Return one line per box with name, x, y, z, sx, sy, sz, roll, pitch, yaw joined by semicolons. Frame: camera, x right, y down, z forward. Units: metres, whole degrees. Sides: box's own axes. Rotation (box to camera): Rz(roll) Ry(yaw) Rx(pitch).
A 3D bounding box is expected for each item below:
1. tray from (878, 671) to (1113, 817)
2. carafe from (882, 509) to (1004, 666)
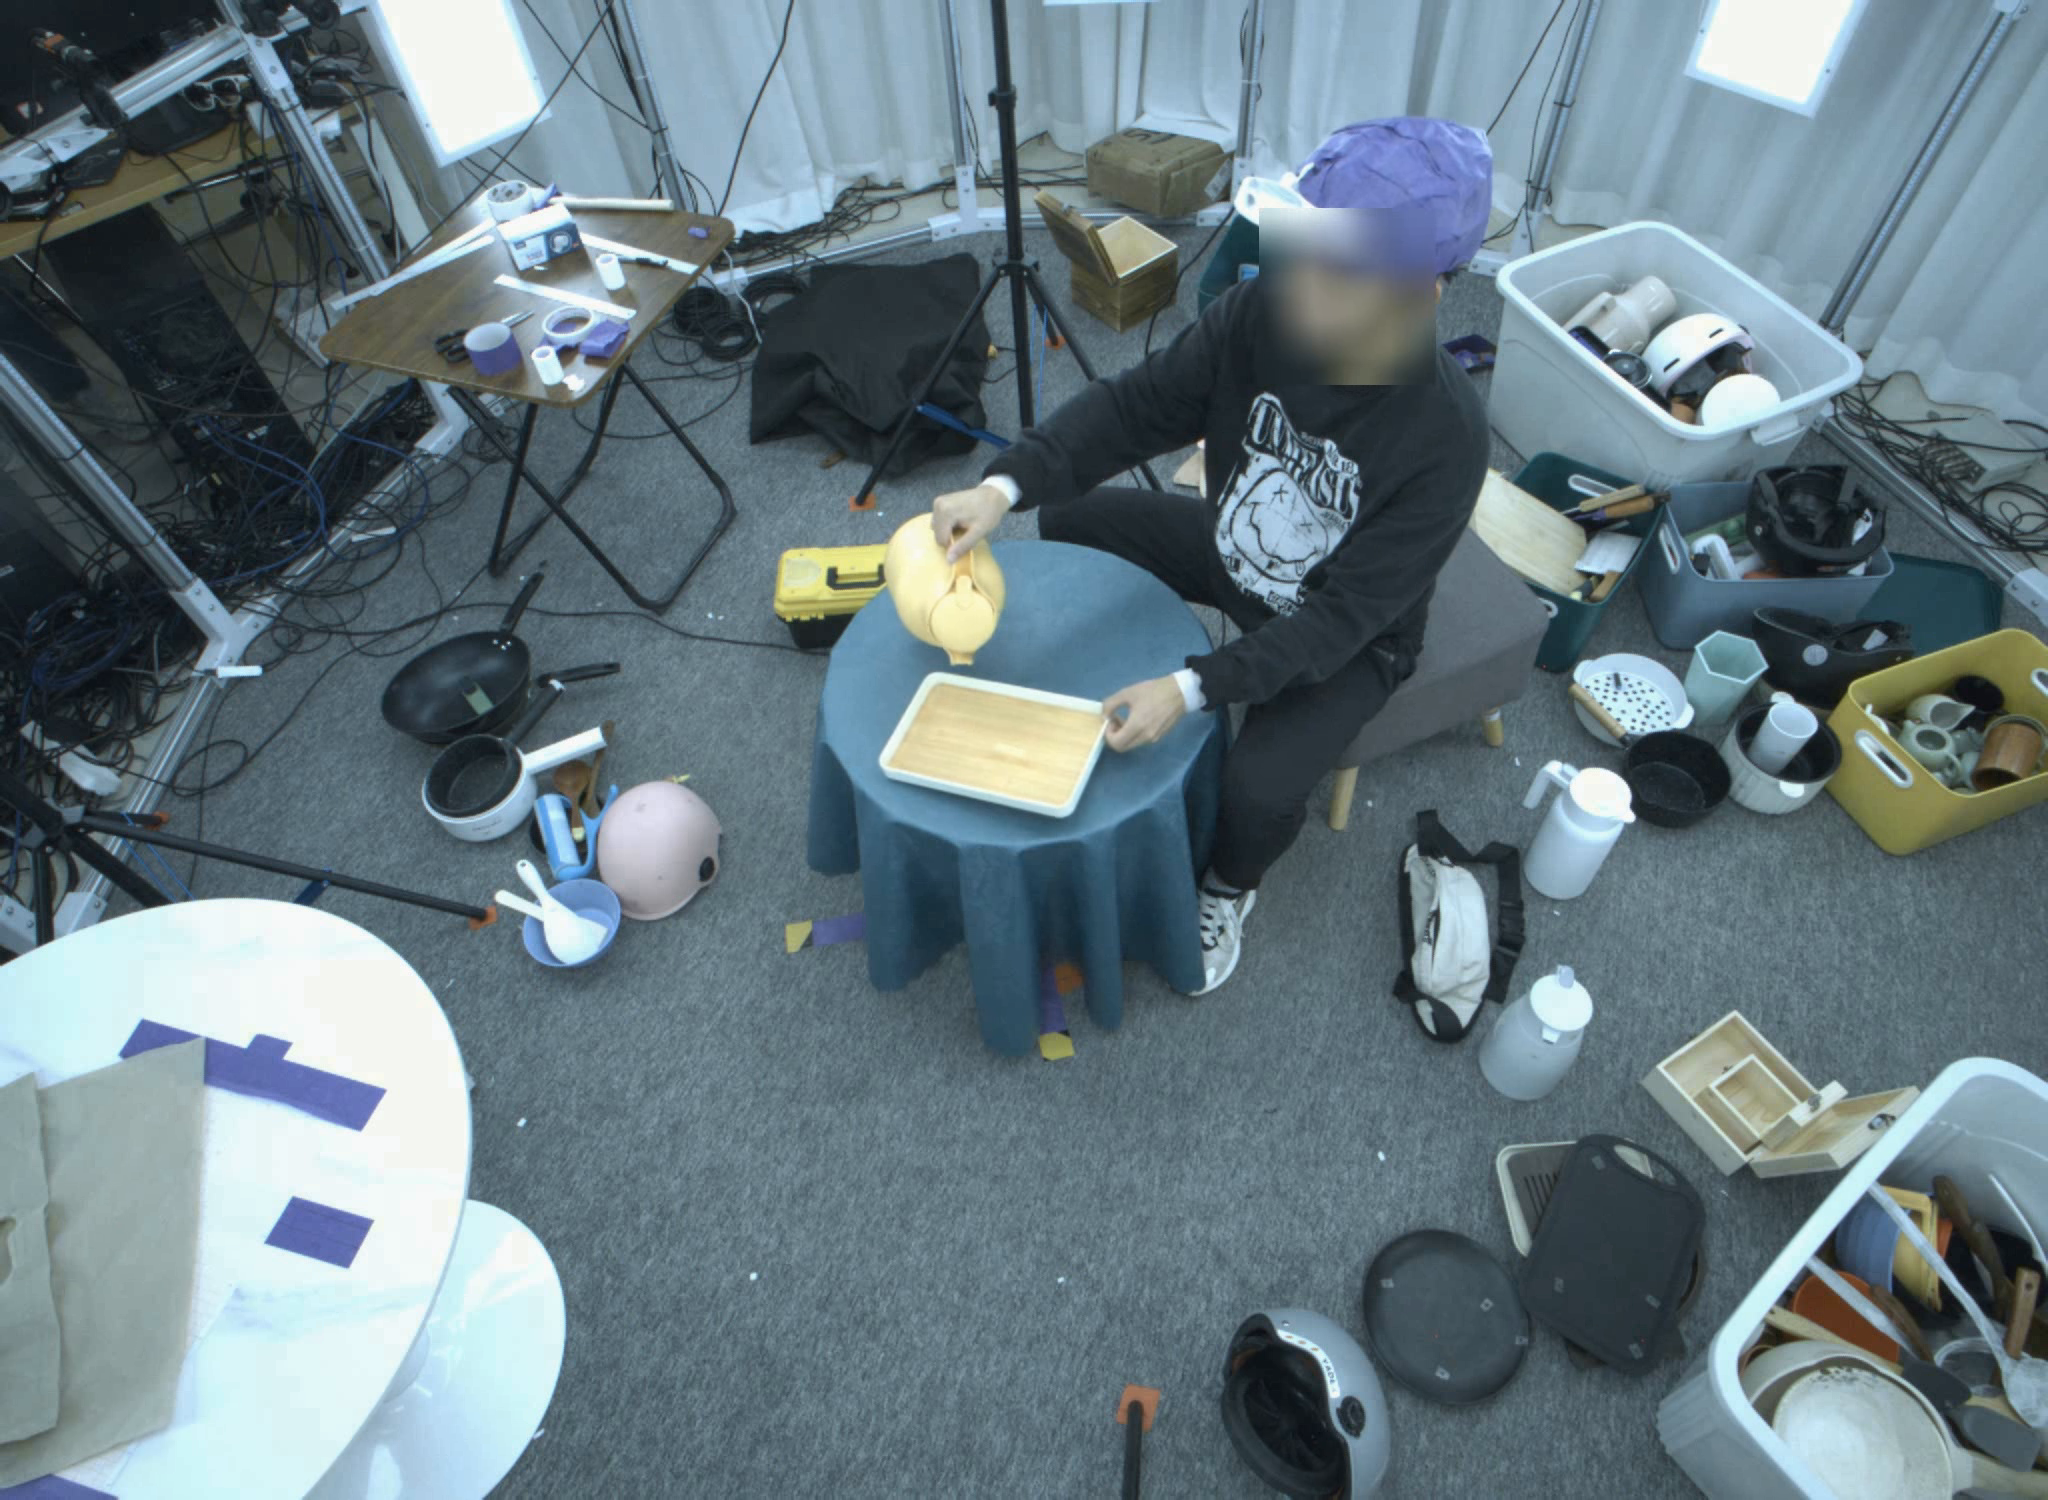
tray;-0.041;-0.013;1.754;0.296;0.028;0.191;13;56;20
carafe;-0.108;-0.250;1.744;0.165;0.204;0.255;-3;32;-16
